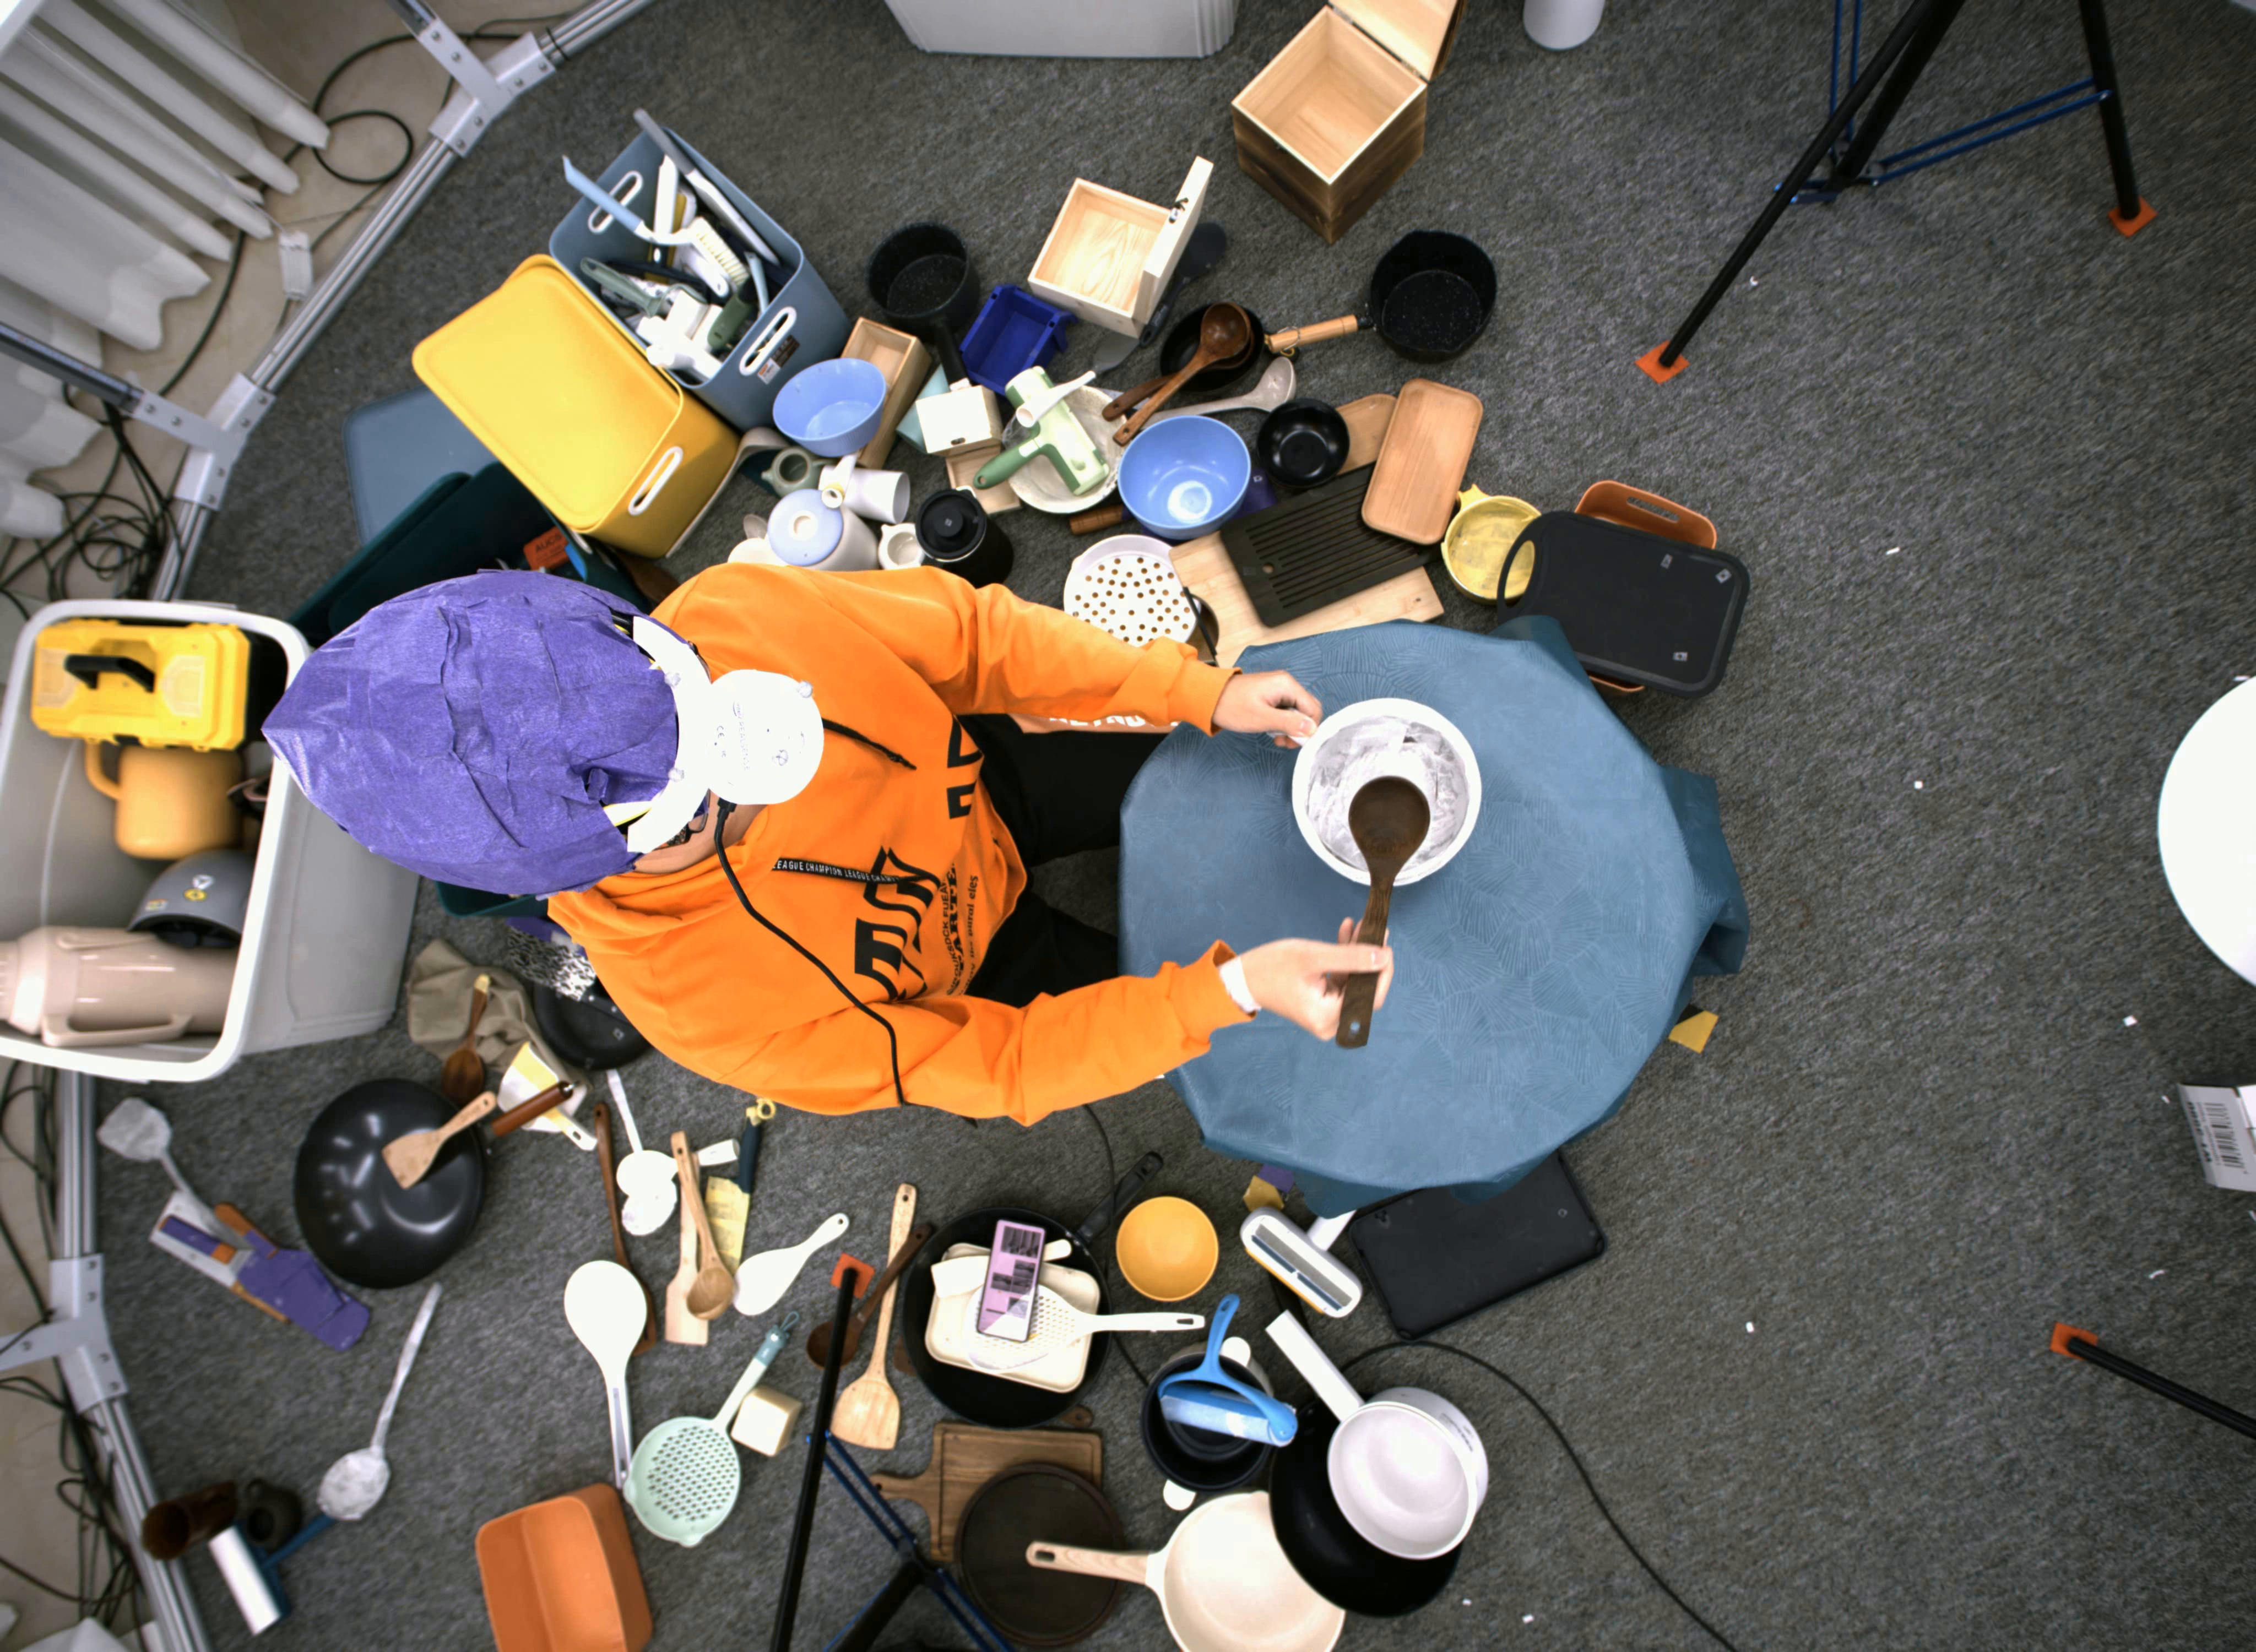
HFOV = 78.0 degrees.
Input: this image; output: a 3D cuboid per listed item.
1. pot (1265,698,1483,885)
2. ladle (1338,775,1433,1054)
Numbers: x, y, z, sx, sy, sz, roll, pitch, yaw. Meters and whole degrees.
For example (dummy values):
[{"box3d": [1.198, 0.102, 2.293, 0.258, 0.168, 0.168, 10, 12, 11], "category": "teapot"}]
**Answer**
[{"box3d": [0.233, -0.047, 1.365, 0.233, 0.136, 0.179, 36, 94, 9], "category": "pot"}, {"box3d": [0.211, 0.065, 1.179, 0.076, 0.073, 0.266, 3, 45, 19], "category": "ladle"}]
